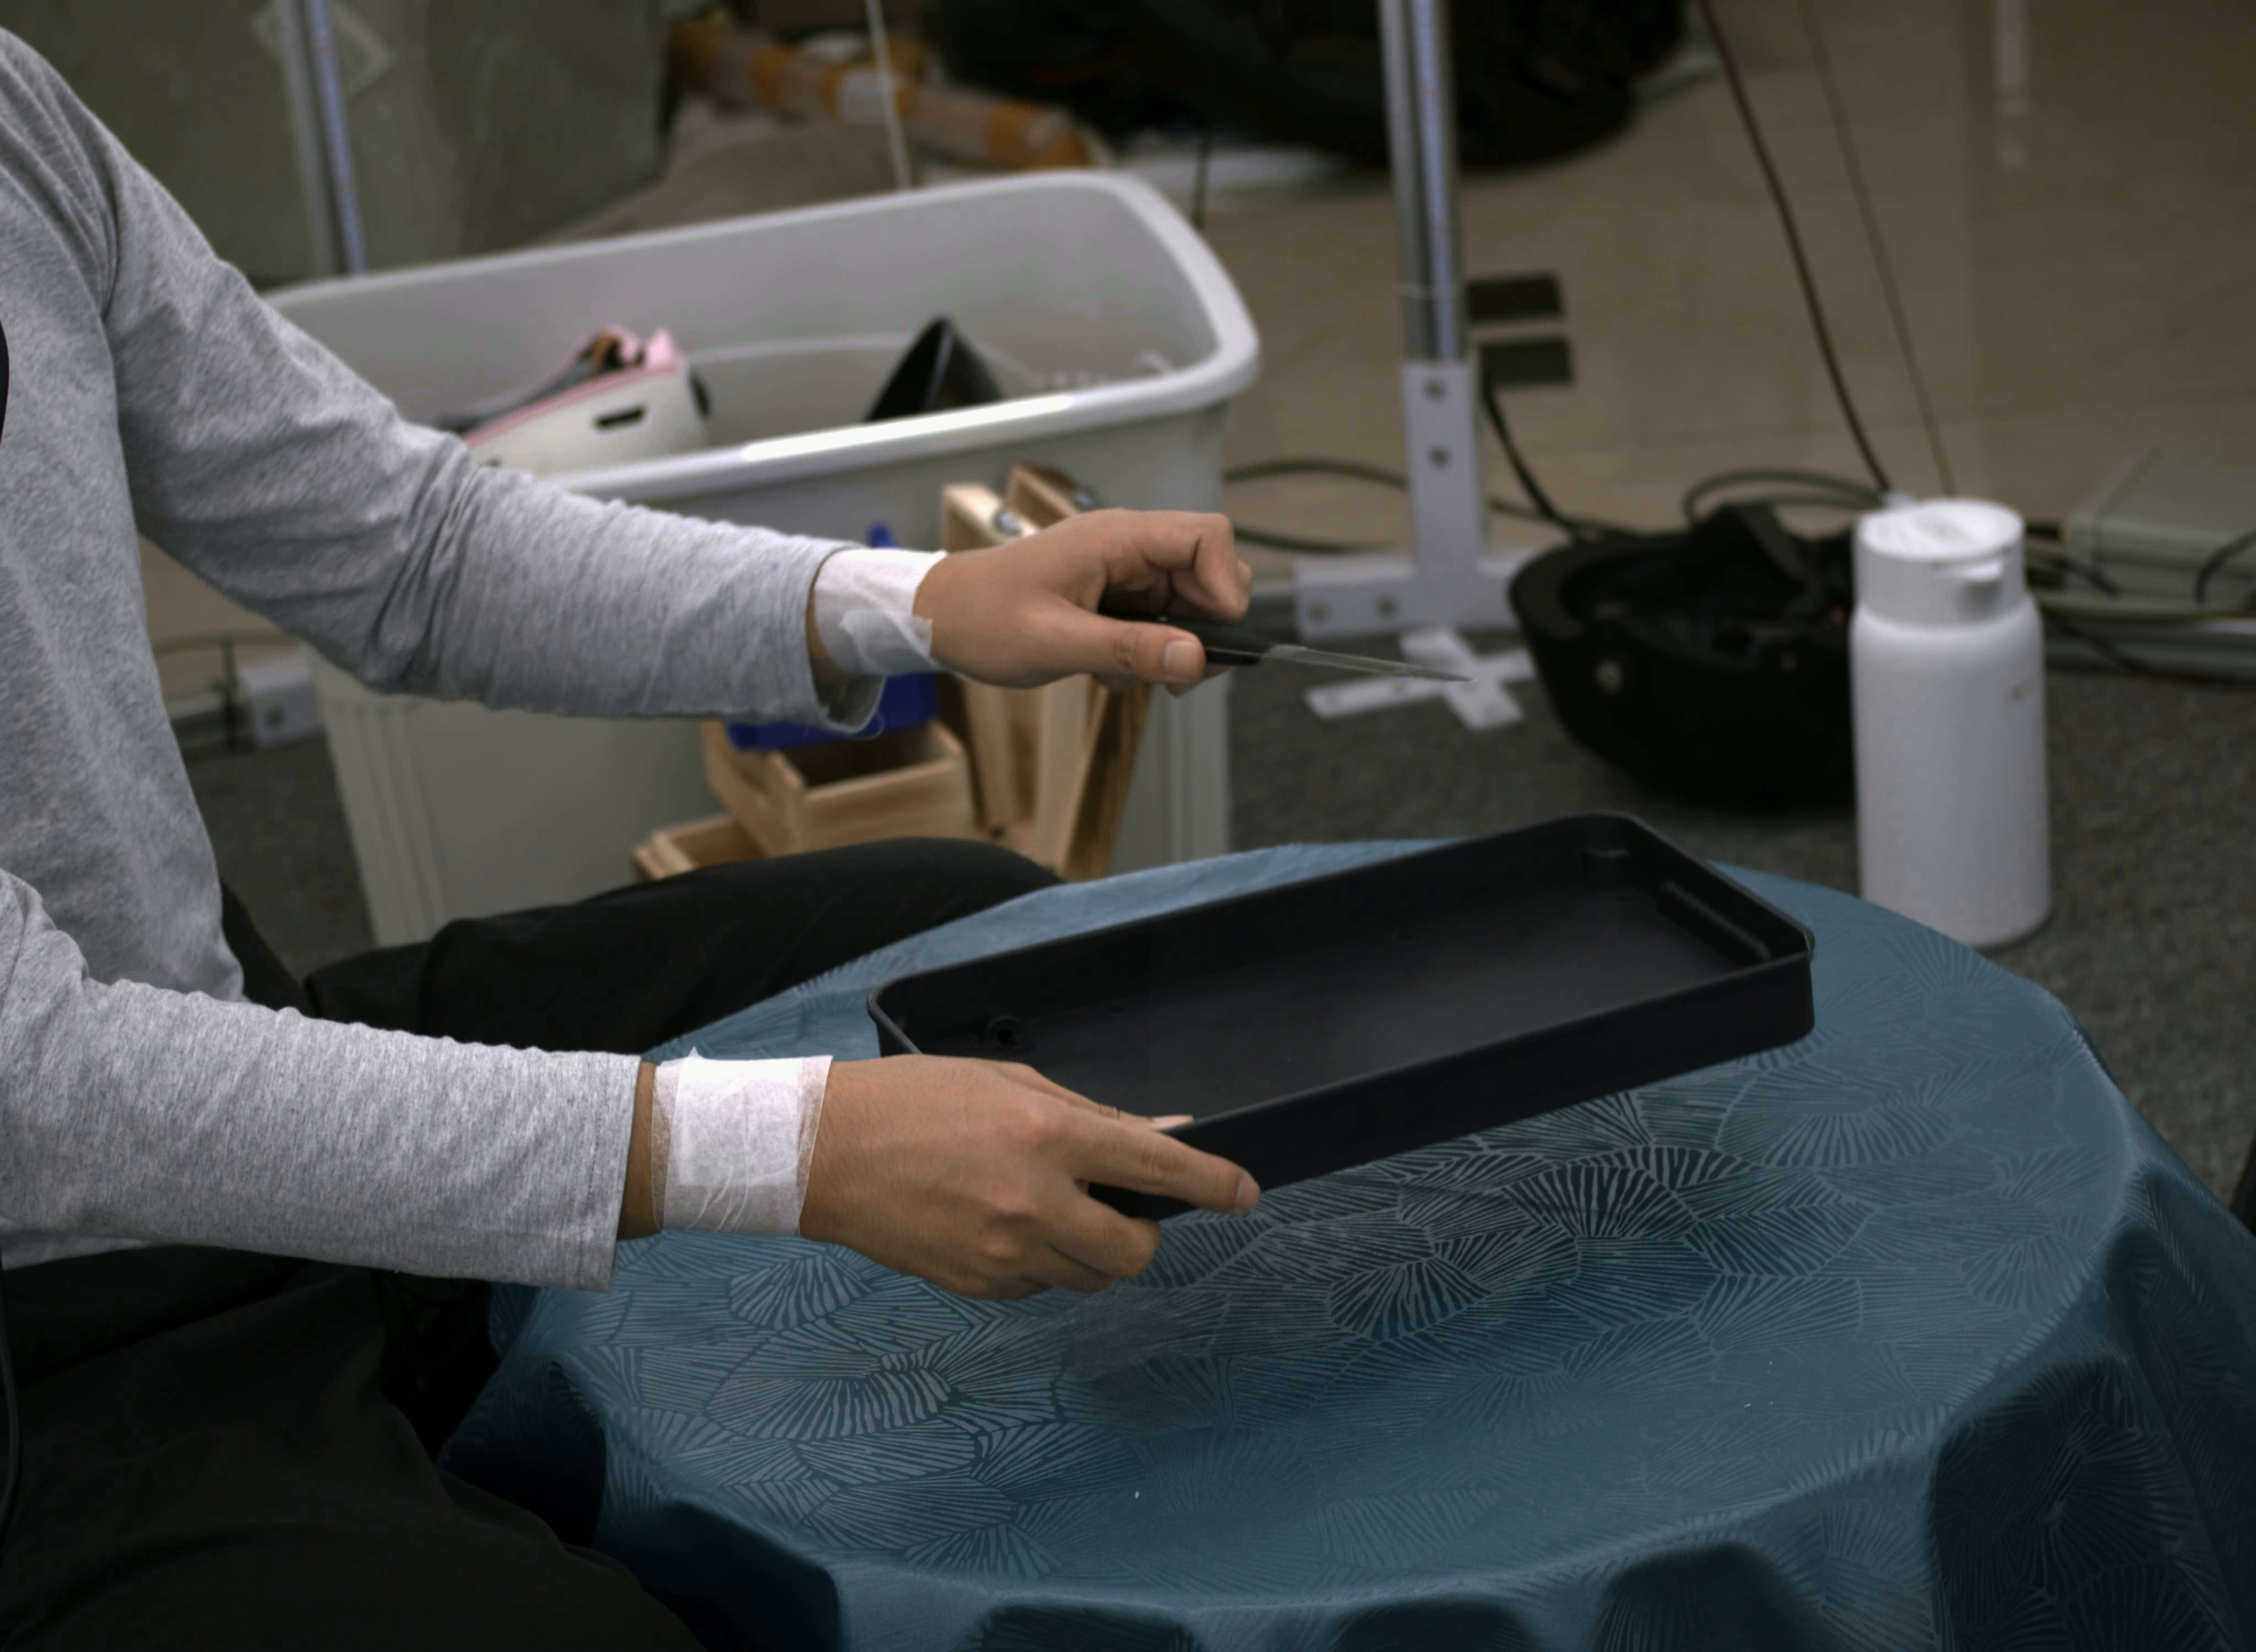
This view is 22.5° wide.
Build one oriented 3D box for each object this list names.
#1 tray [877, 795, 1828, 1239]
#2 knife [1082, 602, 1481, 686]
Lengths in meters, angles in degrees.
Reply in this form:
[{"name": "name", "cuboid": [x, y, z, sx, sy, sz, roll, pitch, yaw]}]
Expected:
[{"name": "tray", "cuboid": [0.082, 0.066, 2.076, 0.316, 0.037, 0.182, -16, 23, -19]}, {"name": "knife", "cuboid": [0.055, -0.068, 2.174, 0.024, 0.016, 0.237, -13, 15, -36]}]
